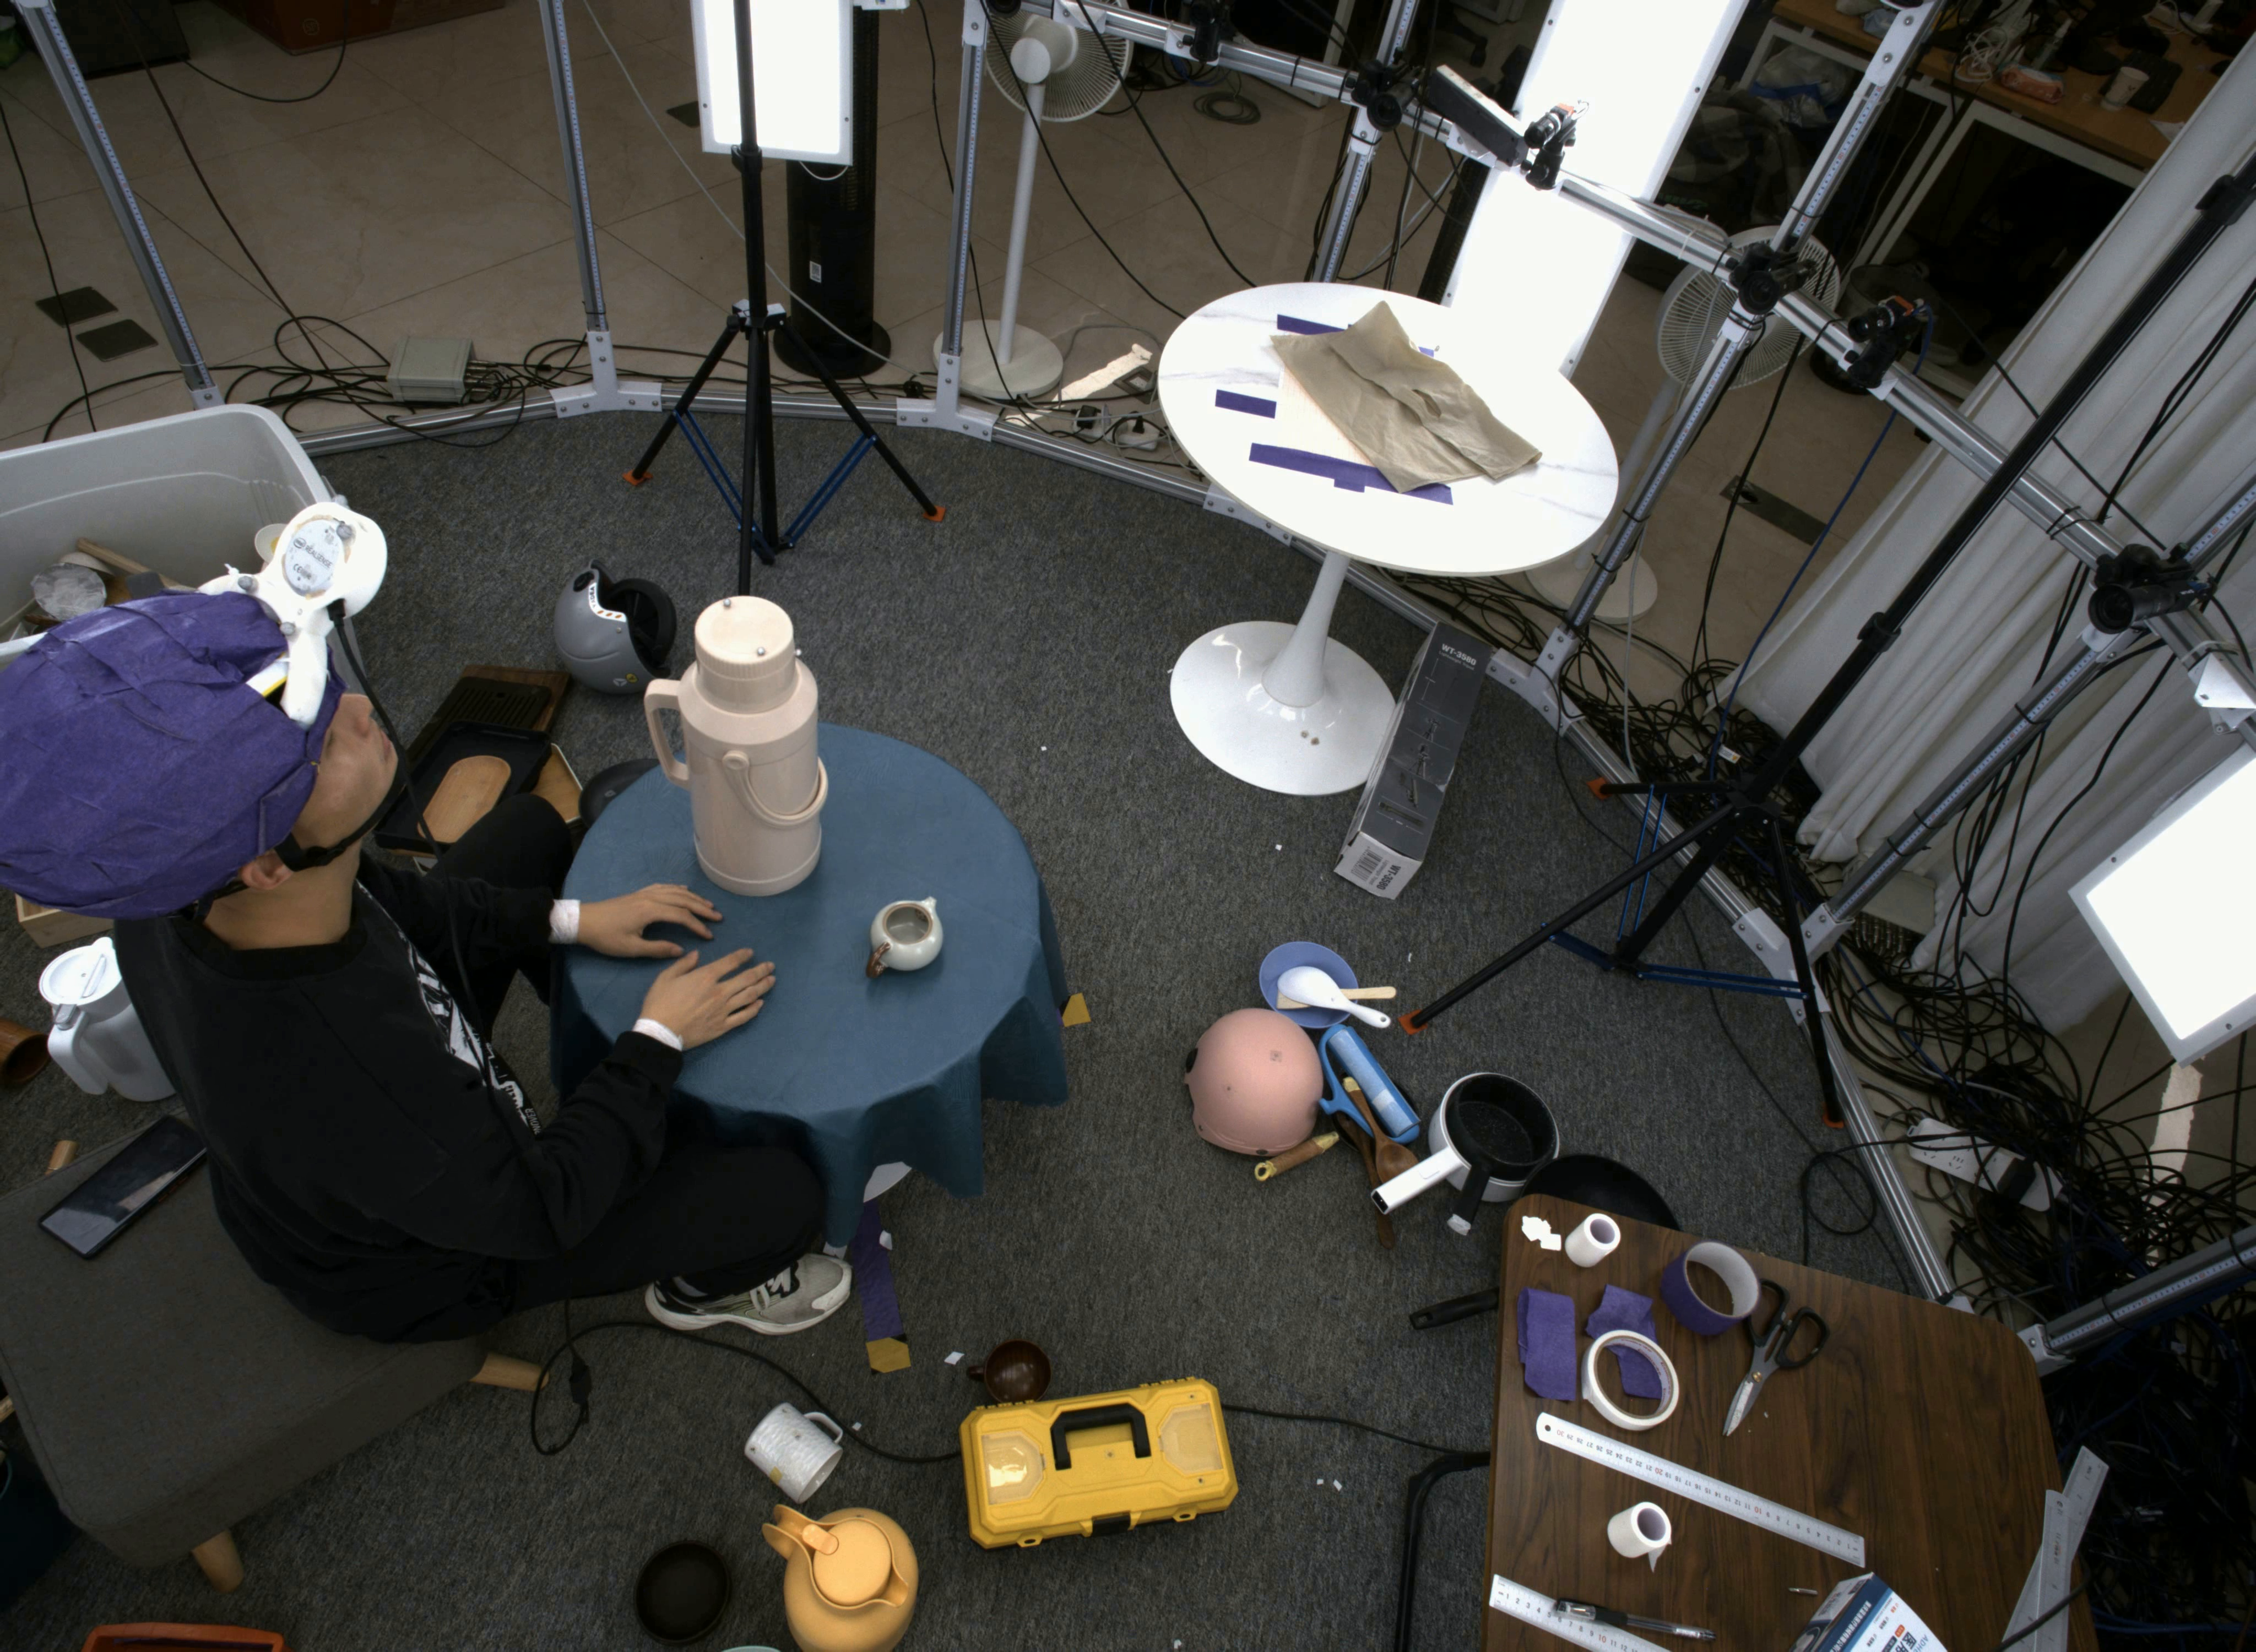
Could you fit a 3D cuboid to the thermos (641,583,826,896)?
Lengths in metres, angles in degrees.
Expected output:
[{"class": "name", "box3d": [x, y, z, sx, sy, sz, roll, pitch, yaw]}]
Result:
[{"class": "thermos", "box3d": [-0.464, -0.100, 1.529, 0.207, 0.414, 0.172, 4, 53, -9]}]

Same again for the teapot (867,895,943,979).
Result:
[{"class": "teapot", "box3d": [-0.281, 0.139, 1.616, 0.091, 0.060, 0.128, 34, 52, 7]}]
